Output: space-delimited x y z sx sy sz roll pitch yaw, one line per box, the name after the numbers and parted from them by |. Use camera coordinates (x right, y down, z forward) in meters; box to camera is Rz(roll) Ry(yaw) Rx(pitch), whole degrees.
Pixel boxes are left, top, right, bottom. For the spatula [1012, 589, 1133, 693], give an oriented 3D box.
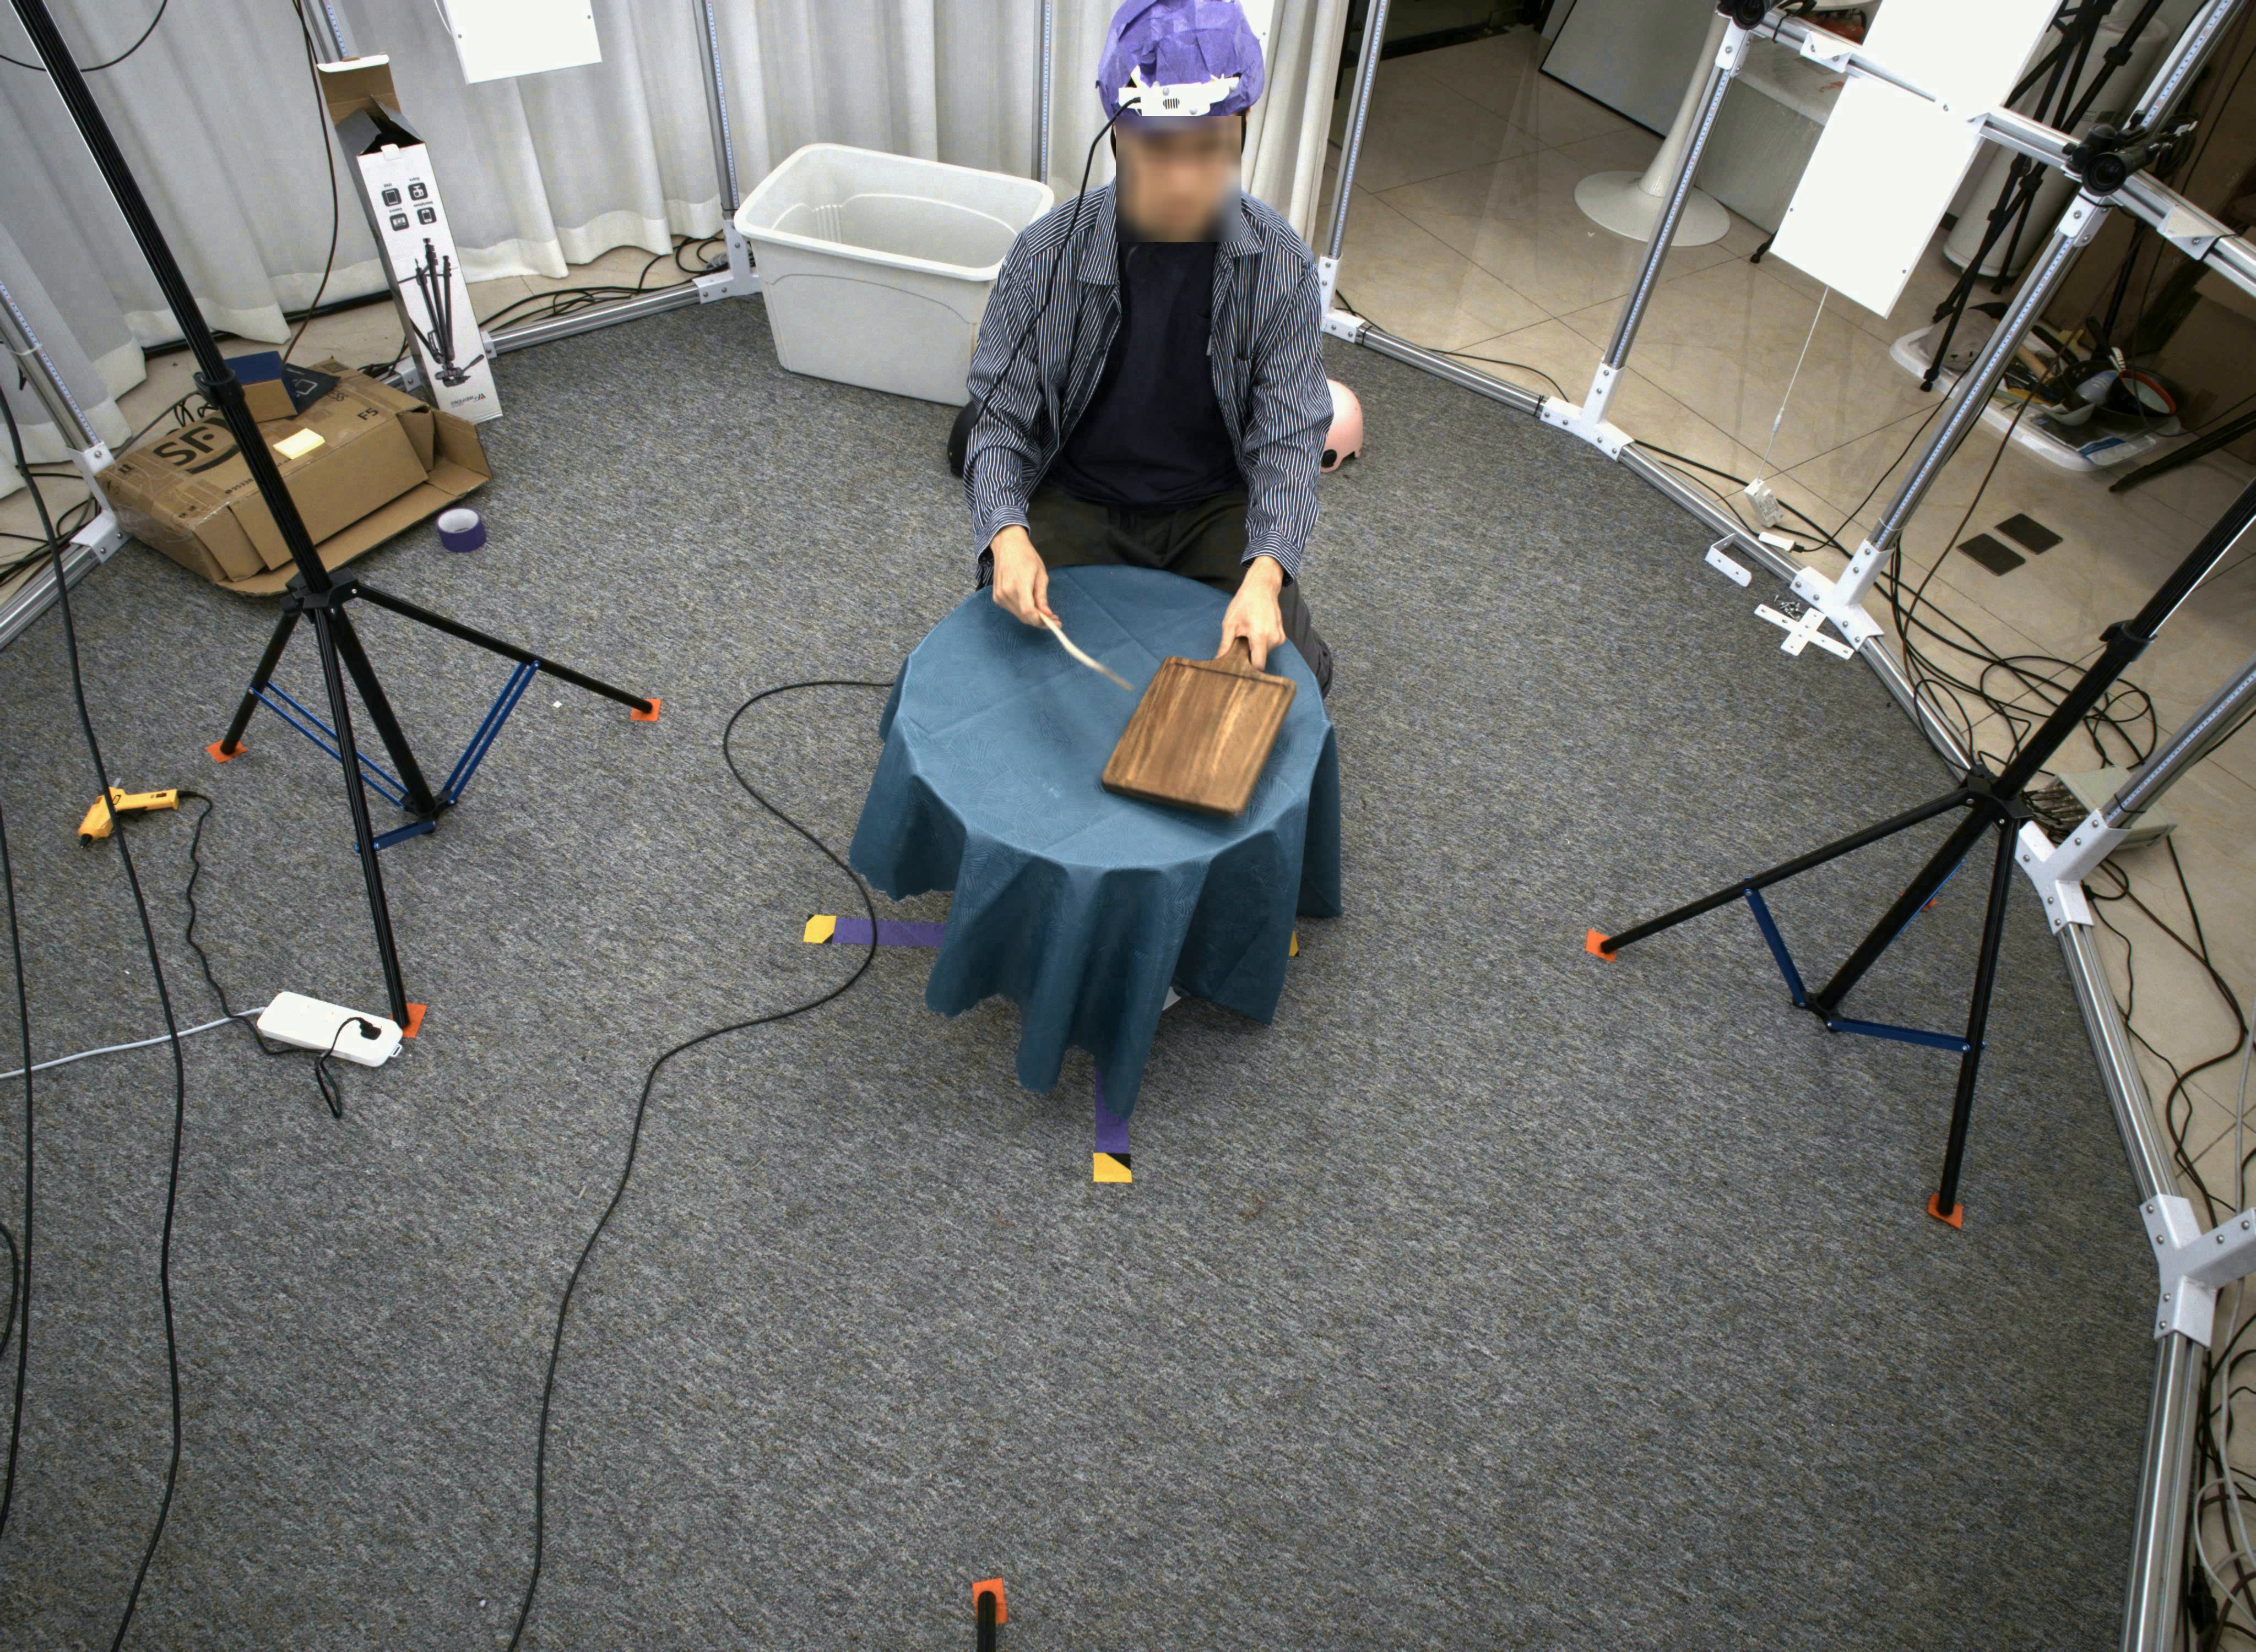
-0.087 -0.261 1.764 0.078 0.016 0.334 29 14 -40 | spatula

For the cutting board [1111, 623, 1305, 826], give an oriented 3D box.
0.129 -0.156 1.756 0.202 0.022 0.359 14 53 18 | cutting board
